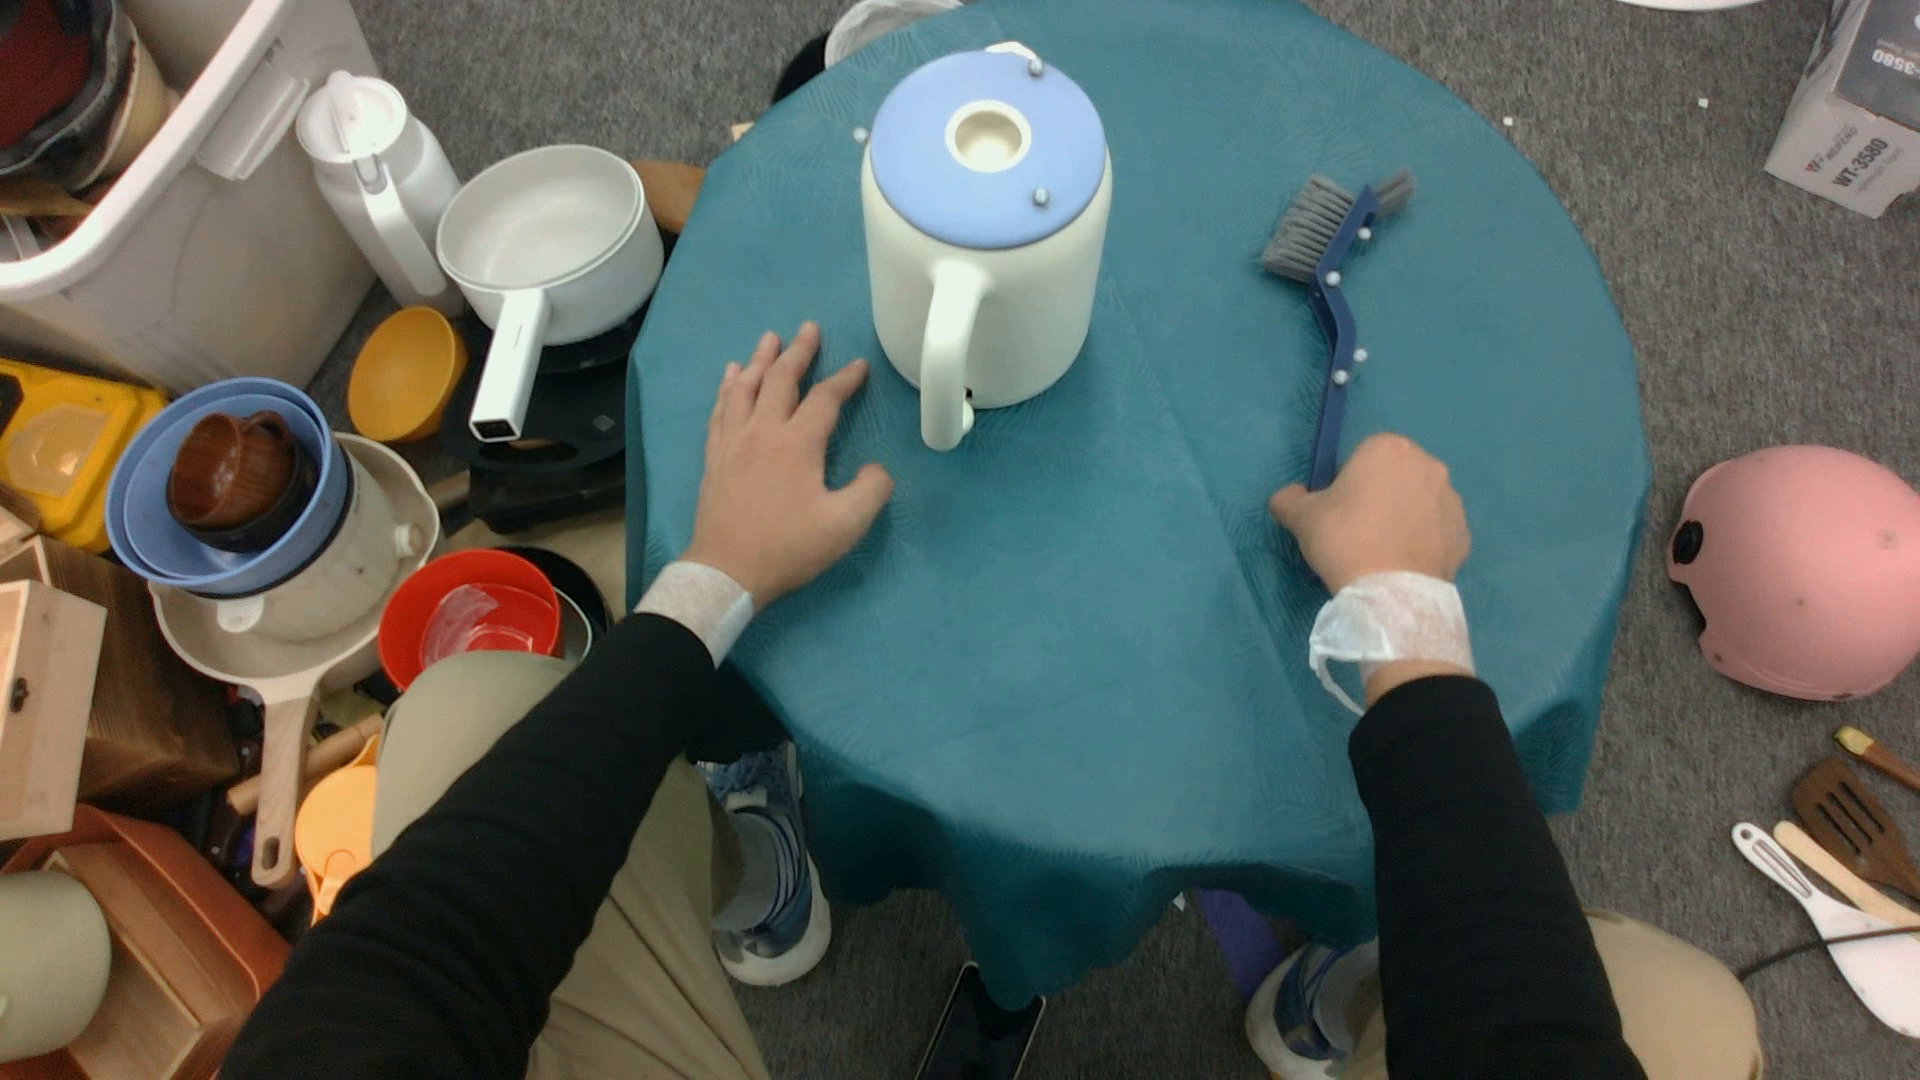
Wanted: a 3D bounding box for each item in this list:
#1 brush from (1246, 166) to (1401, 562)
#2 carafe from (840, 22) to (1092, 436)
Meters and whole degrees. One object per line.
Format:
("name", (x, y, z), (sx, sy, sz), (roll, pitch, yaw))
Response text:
("brush", (0.217, -0.113, 0.815), (0.096, 0.033, 0.274), (6, 67, -1))
("carafe", (-0.002, -0.153, 0.752), (0.132, 0.182, 0.191), (9, 70, 3))
